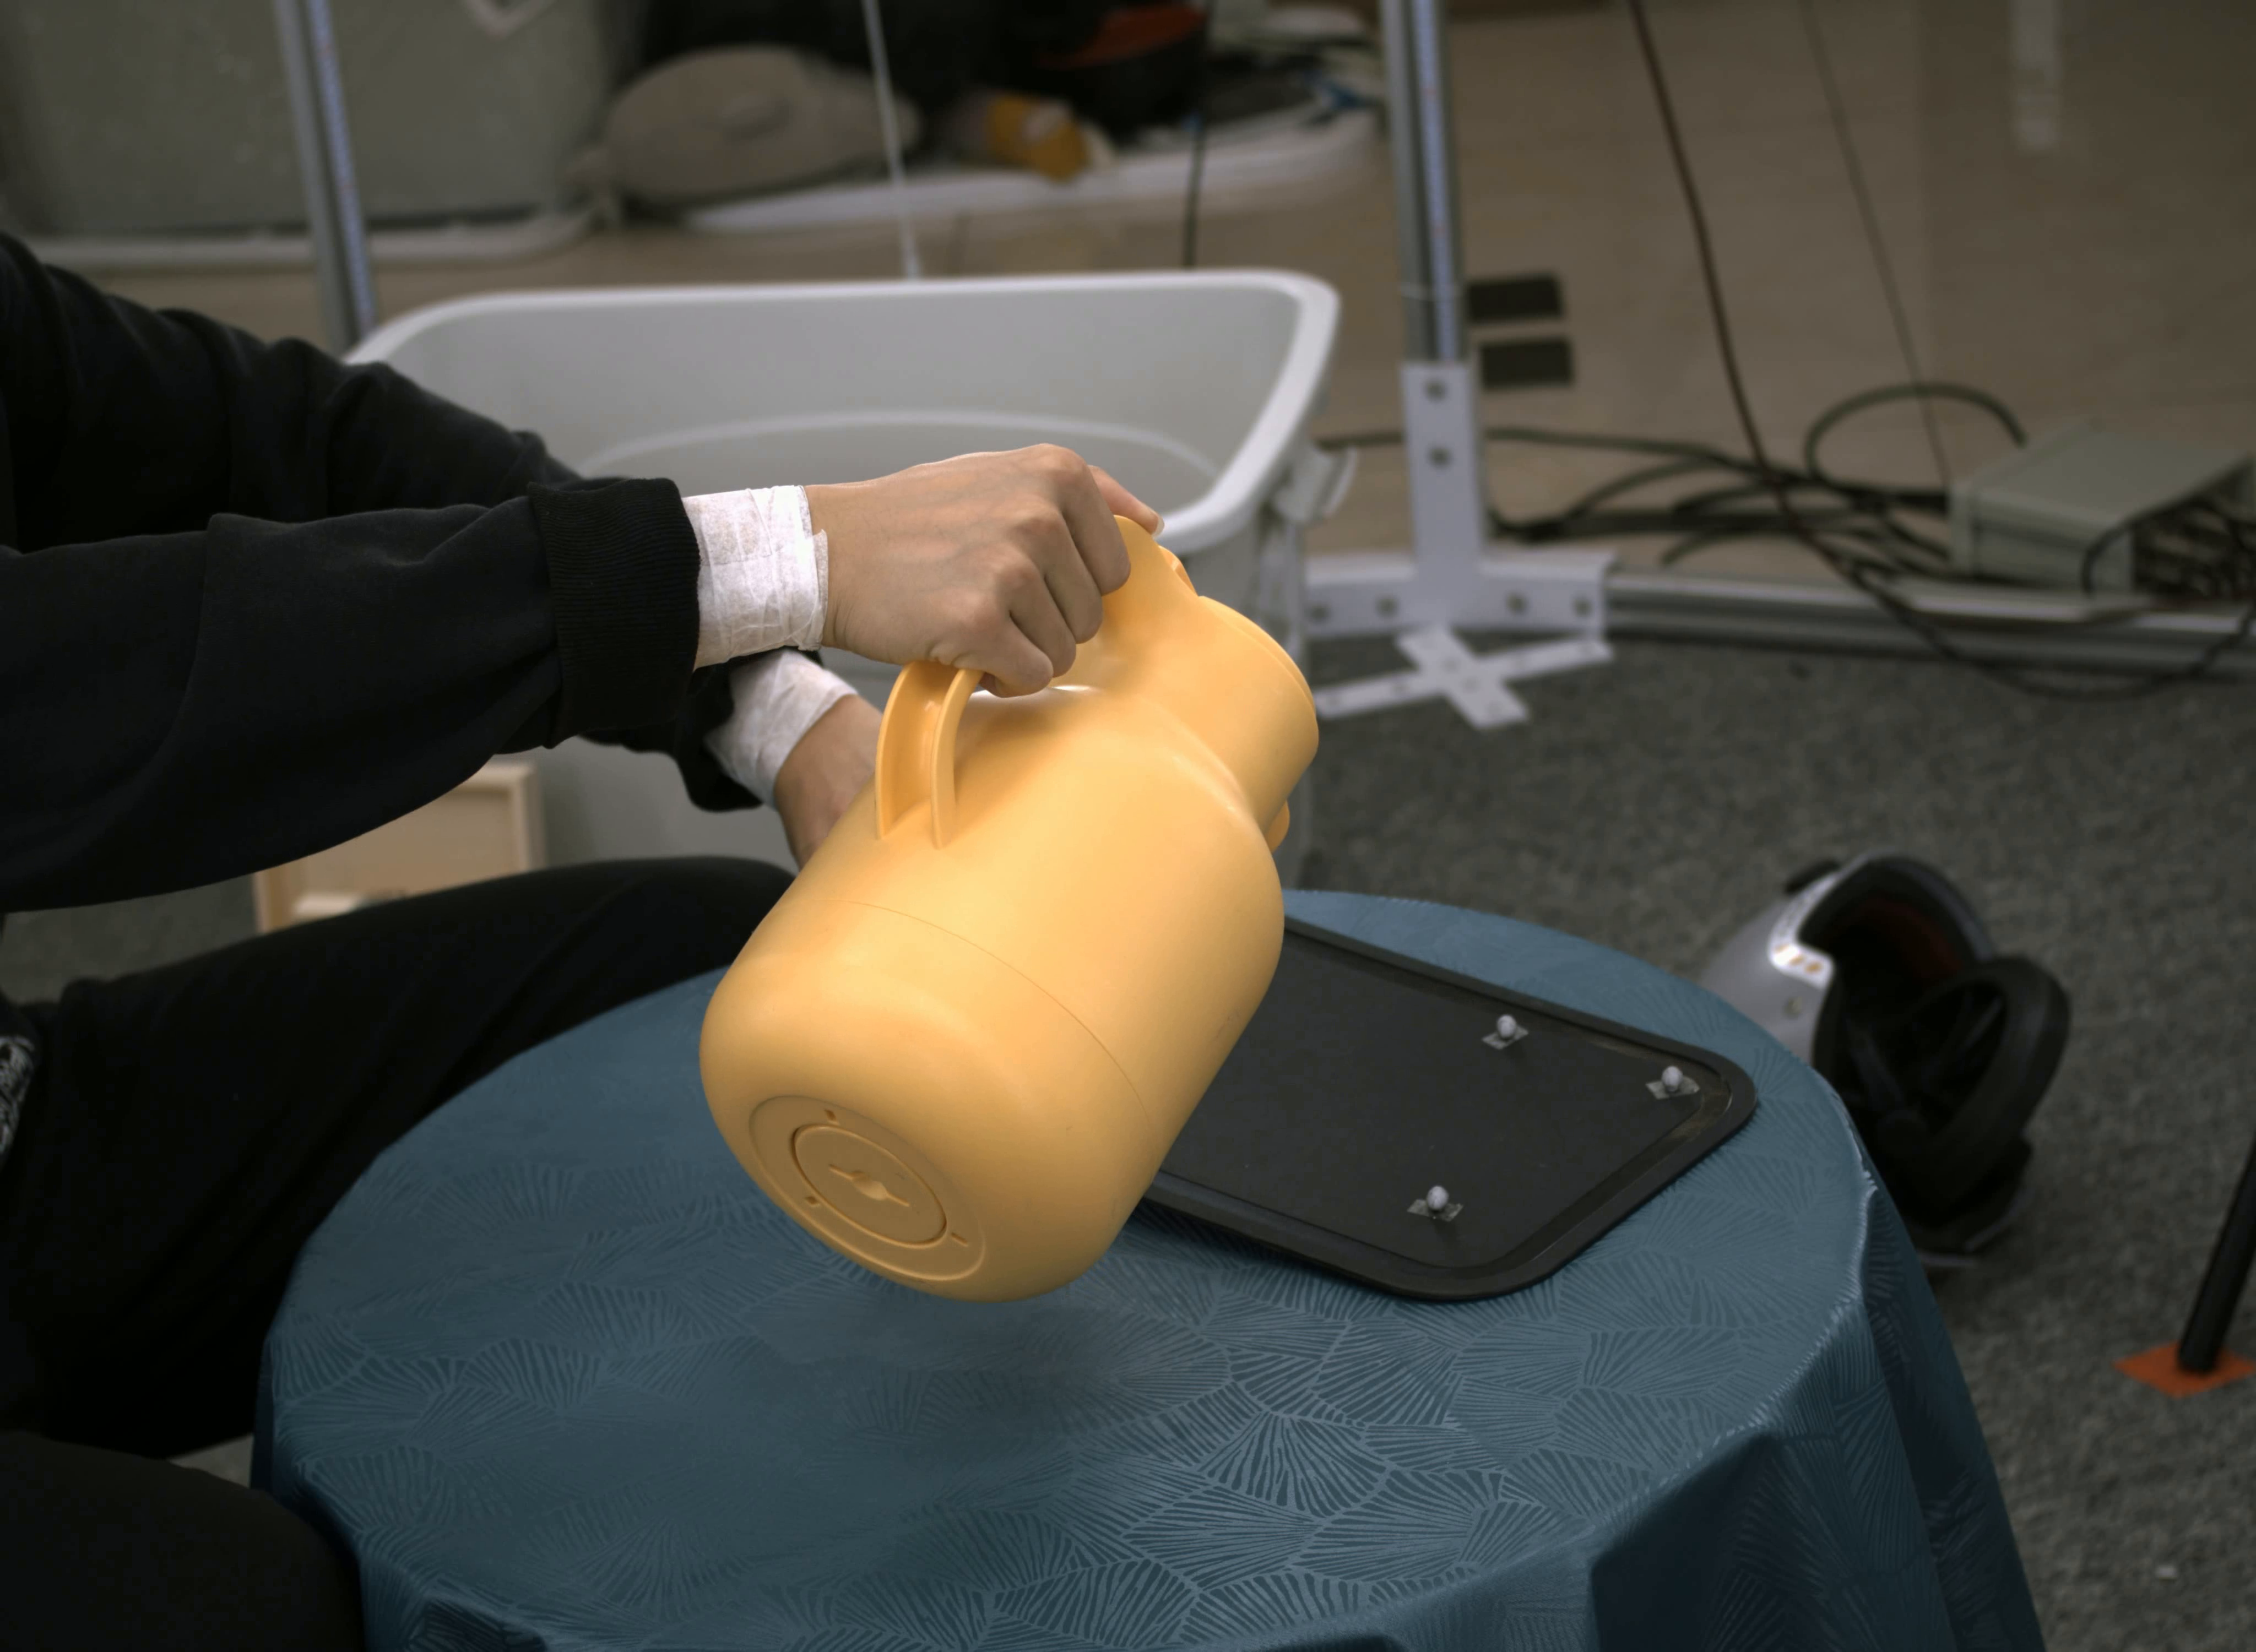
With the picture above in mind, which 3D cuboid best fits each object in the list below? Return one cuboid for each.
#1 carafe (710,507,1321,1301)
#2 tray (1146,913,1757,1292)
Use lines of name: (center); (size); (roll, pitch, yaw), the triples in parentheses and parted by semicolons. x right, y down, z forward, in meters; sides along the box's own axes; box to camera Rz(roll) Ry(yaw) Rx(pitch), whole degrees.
carafe: (-0.034, 0.018, 1.992); (0.163, 0.206, 0.257); (5, 49, 35)
tray: (0.067, 0.097, 2.192); (0.323, 0.010, 0.209); (18, 34, 35)
